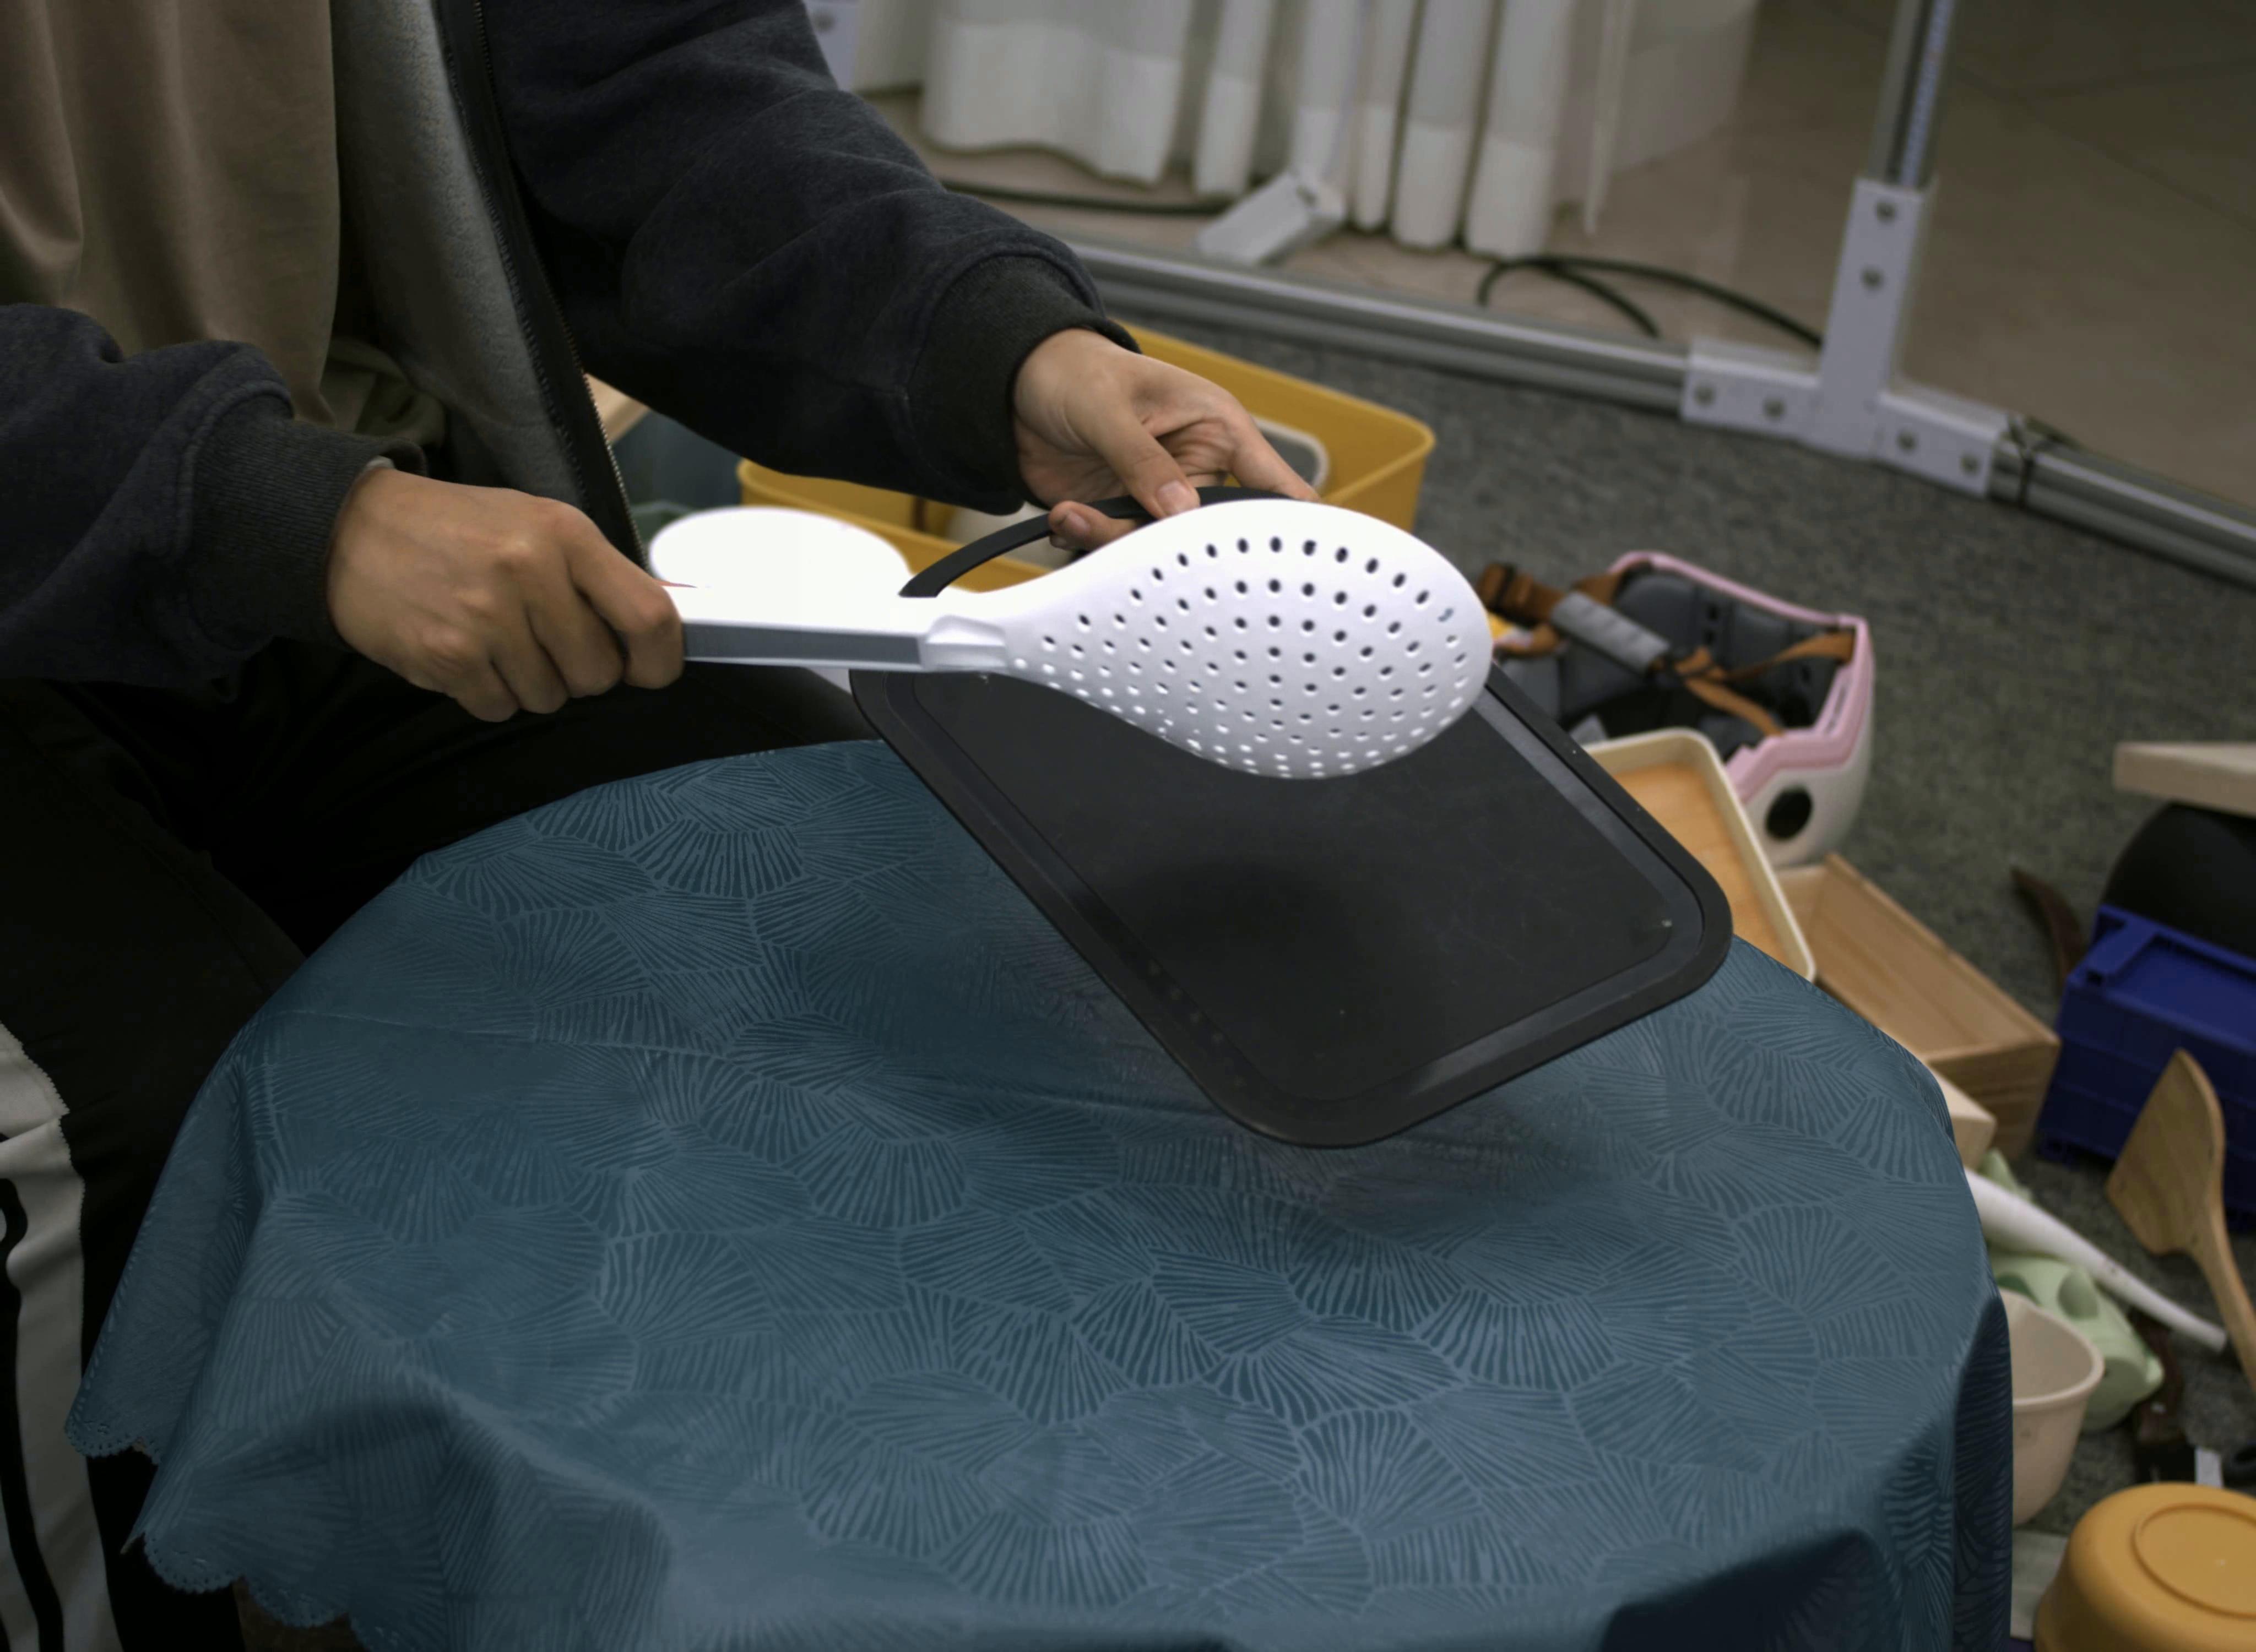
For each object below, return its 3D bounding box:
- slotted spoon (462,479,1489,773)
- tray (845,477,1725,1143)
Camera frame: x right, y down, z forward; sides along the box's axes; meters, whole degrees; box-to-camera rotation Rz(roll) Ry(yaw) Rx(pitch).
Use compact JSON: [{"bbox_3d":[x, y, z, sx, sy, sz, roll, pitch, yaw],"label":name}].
[{"bbox_3d":[-0.054,-0.067,1.796,0.350,0.135,0.046,6,50,11],"label":"slotted spoon"},{"bbox_3d":[0.046,-0.018,1.871,0.210,0.010,0.328,-23,49,-25],"label":"tray"}]
